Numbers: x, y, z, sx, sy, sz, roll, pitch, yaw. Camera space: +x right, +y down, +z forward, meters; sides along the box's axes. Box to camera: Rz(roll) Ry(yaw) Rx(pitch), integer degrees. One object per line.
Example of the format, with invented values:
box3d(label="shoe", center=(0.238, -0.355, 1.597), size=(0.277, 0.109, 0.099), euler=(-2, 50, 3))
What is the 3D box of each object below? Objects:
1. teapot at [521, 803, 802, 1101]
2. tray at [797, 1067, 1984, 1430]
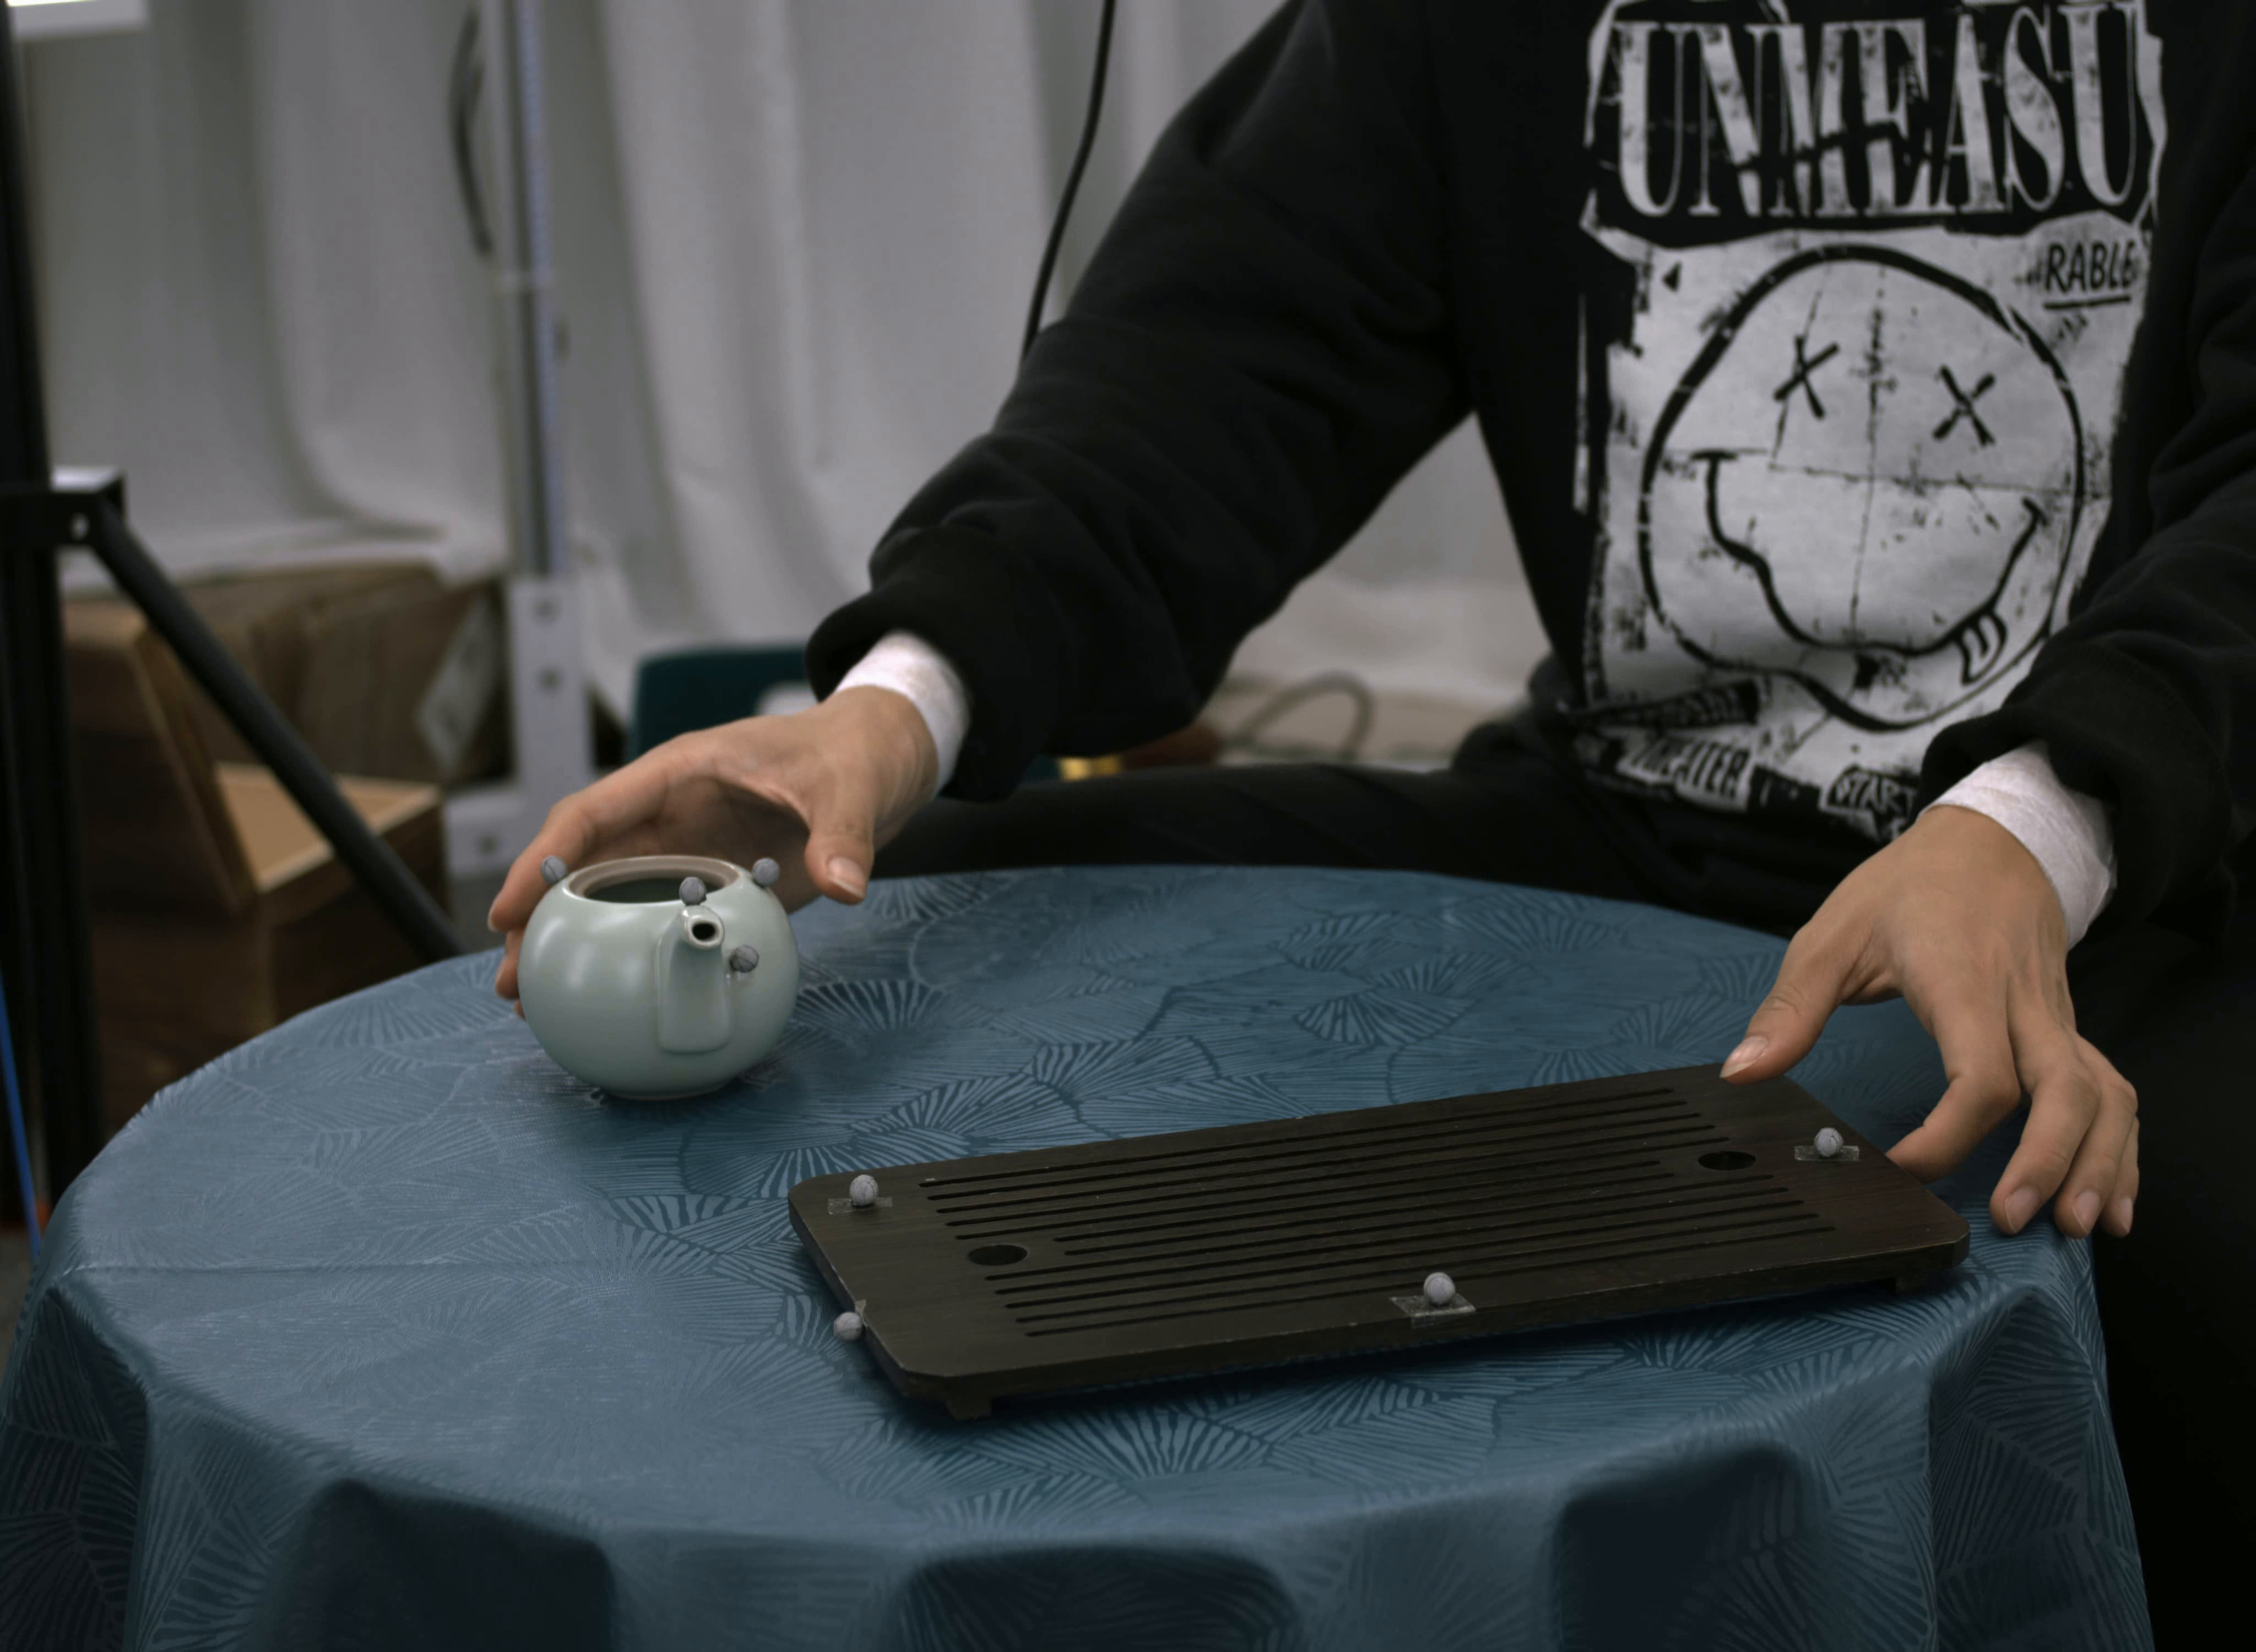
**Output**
box3d(label="teapot", center=(-0.146, 0.045, 1.669), size=(0.087, 0.075, 0.146), euler=(-7, 18, -15))
box3d(label="tray", center=(0.071, 0.116, 1.481), size=(0.301, 0.018, 0.172), euler=(-6, 16, -12))
